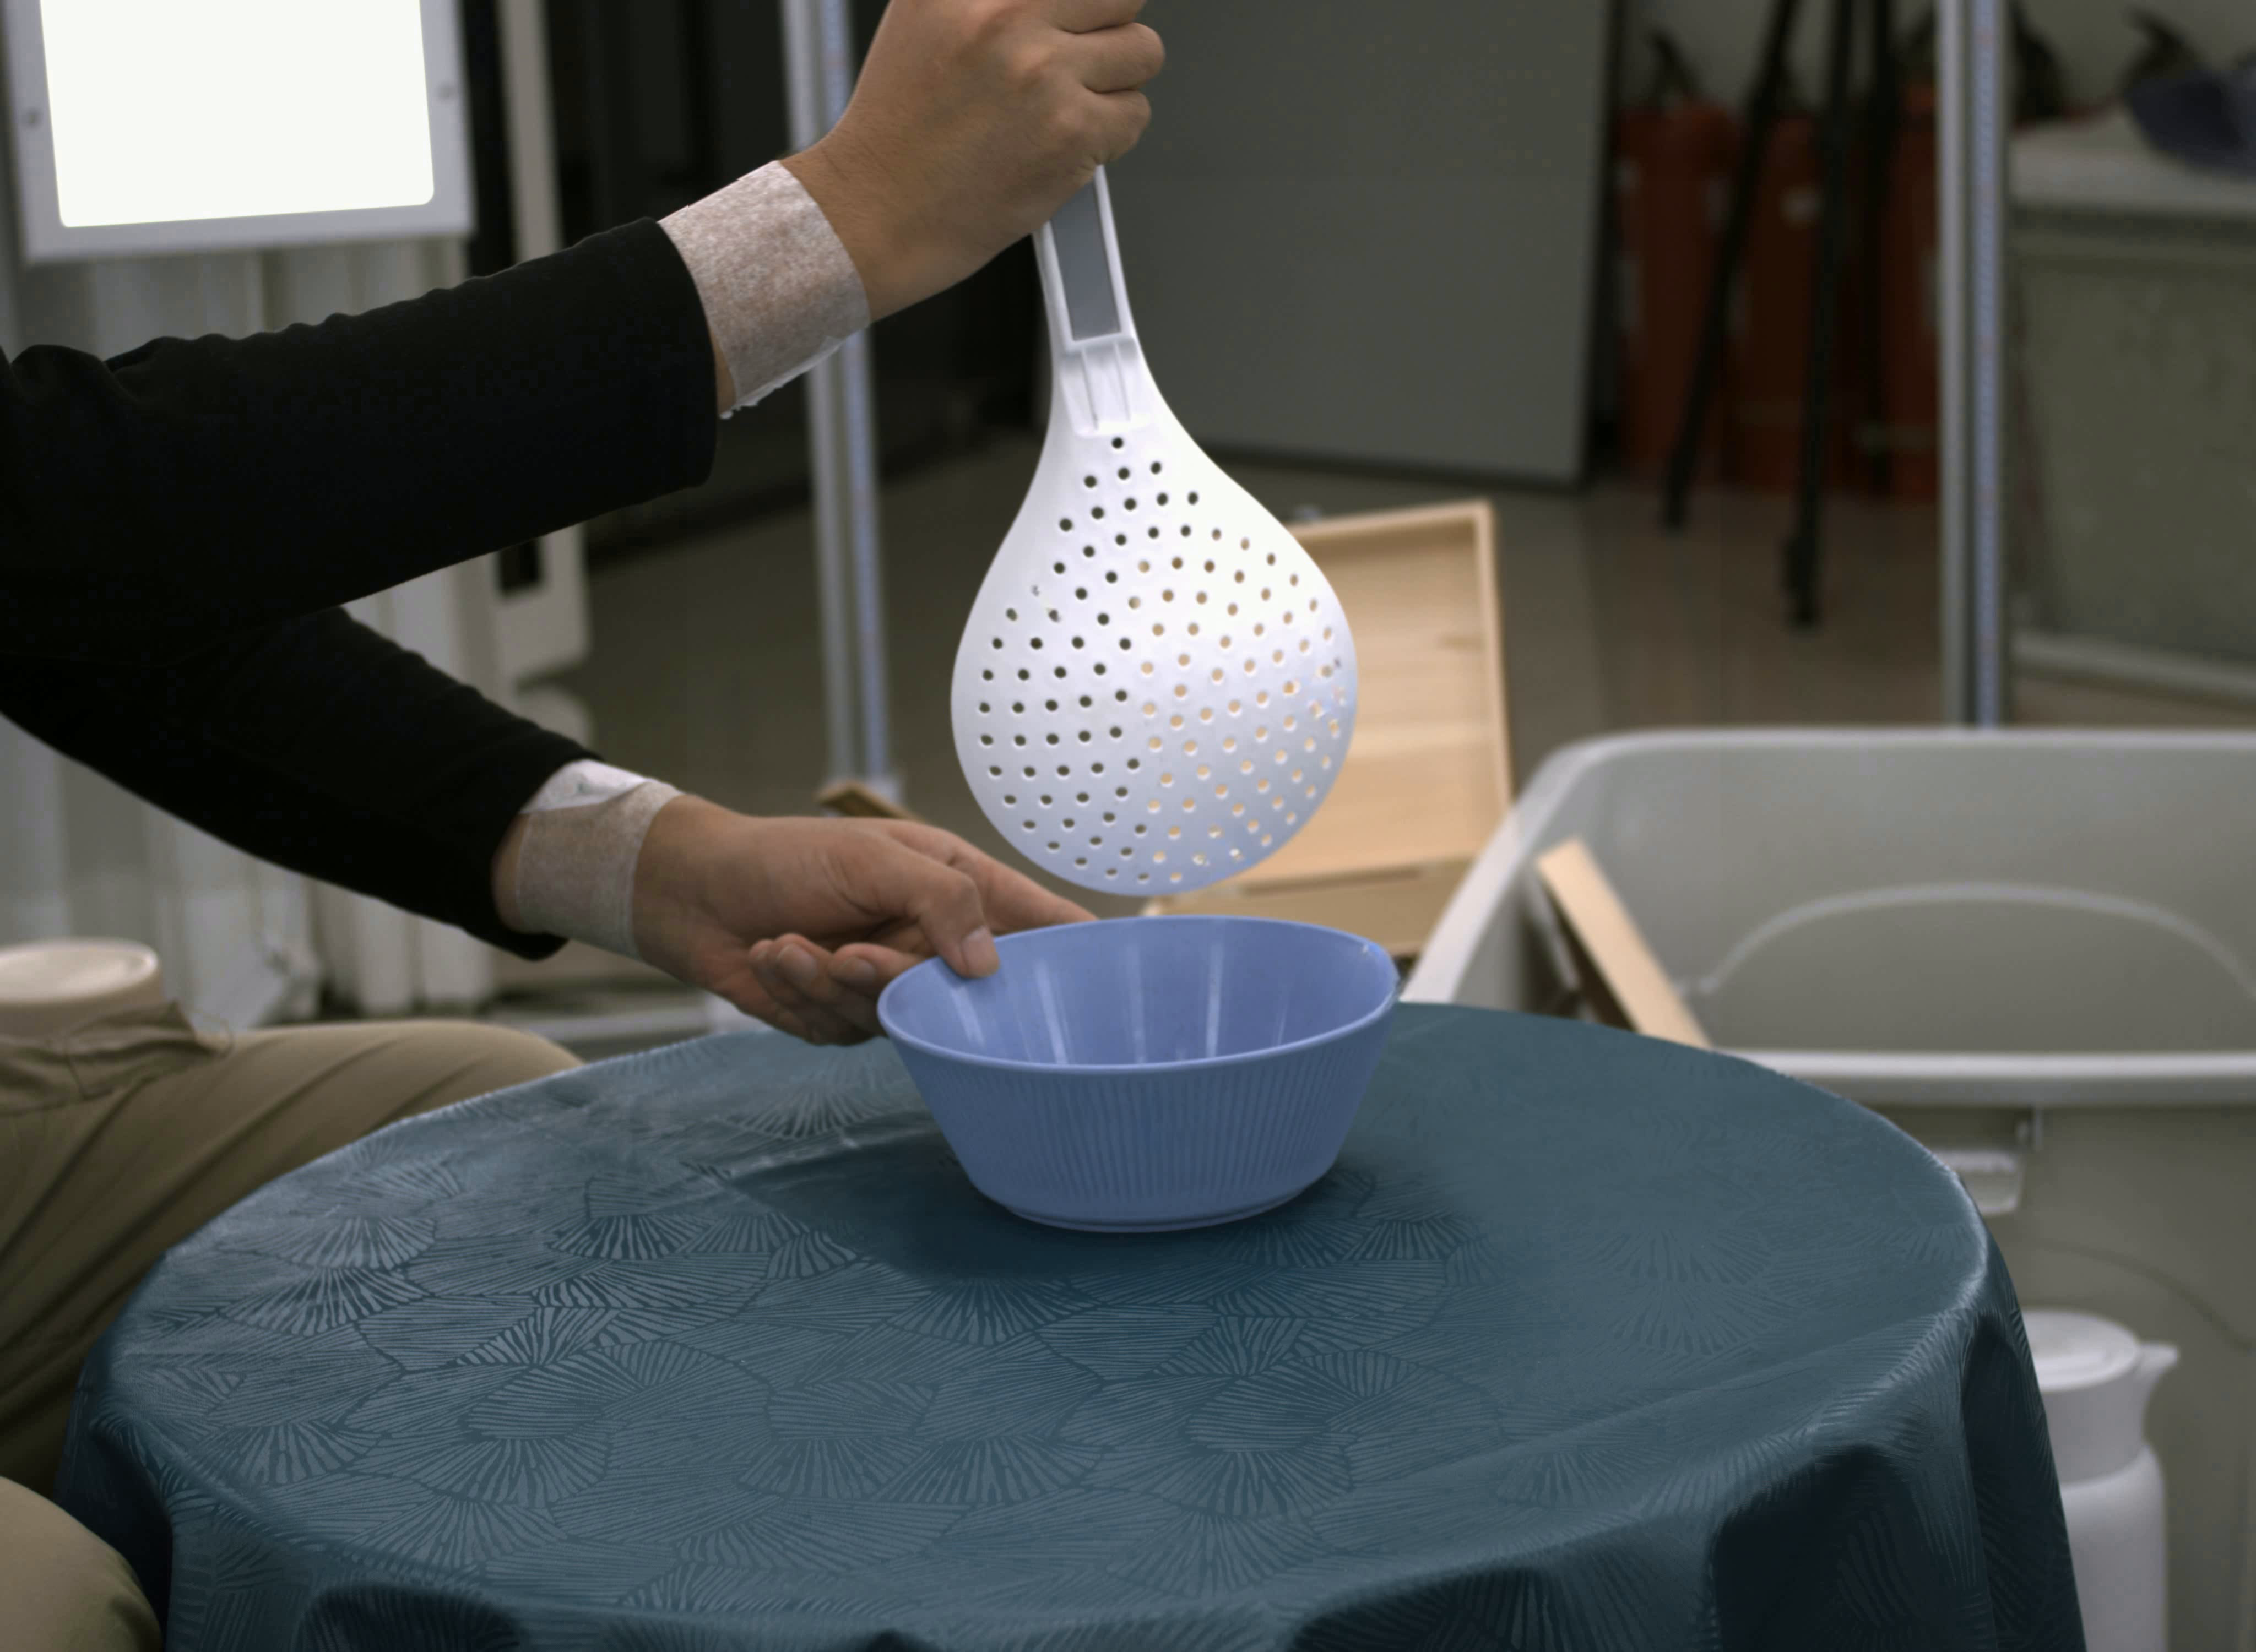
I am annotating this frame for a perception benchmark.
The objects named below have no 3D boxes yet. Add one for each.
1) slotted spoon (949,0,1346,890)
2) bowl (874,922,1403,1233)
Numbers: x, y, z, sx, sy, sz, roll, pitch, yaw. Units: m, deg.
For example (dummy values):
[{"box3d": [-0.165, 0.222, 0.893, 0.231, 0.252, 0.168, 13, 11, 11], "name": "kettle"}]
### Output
[{"box3d": [-0.011, -0.147, 1.736, 0.134, 0.353, 0.046, -13, 11, -7], "name": "slotted spoon"}, {"box3d": [0.006, 0.084, 1.770, 0.174, 0.071, 0.176, -5, 13, 0], "name": "bowl"}]
